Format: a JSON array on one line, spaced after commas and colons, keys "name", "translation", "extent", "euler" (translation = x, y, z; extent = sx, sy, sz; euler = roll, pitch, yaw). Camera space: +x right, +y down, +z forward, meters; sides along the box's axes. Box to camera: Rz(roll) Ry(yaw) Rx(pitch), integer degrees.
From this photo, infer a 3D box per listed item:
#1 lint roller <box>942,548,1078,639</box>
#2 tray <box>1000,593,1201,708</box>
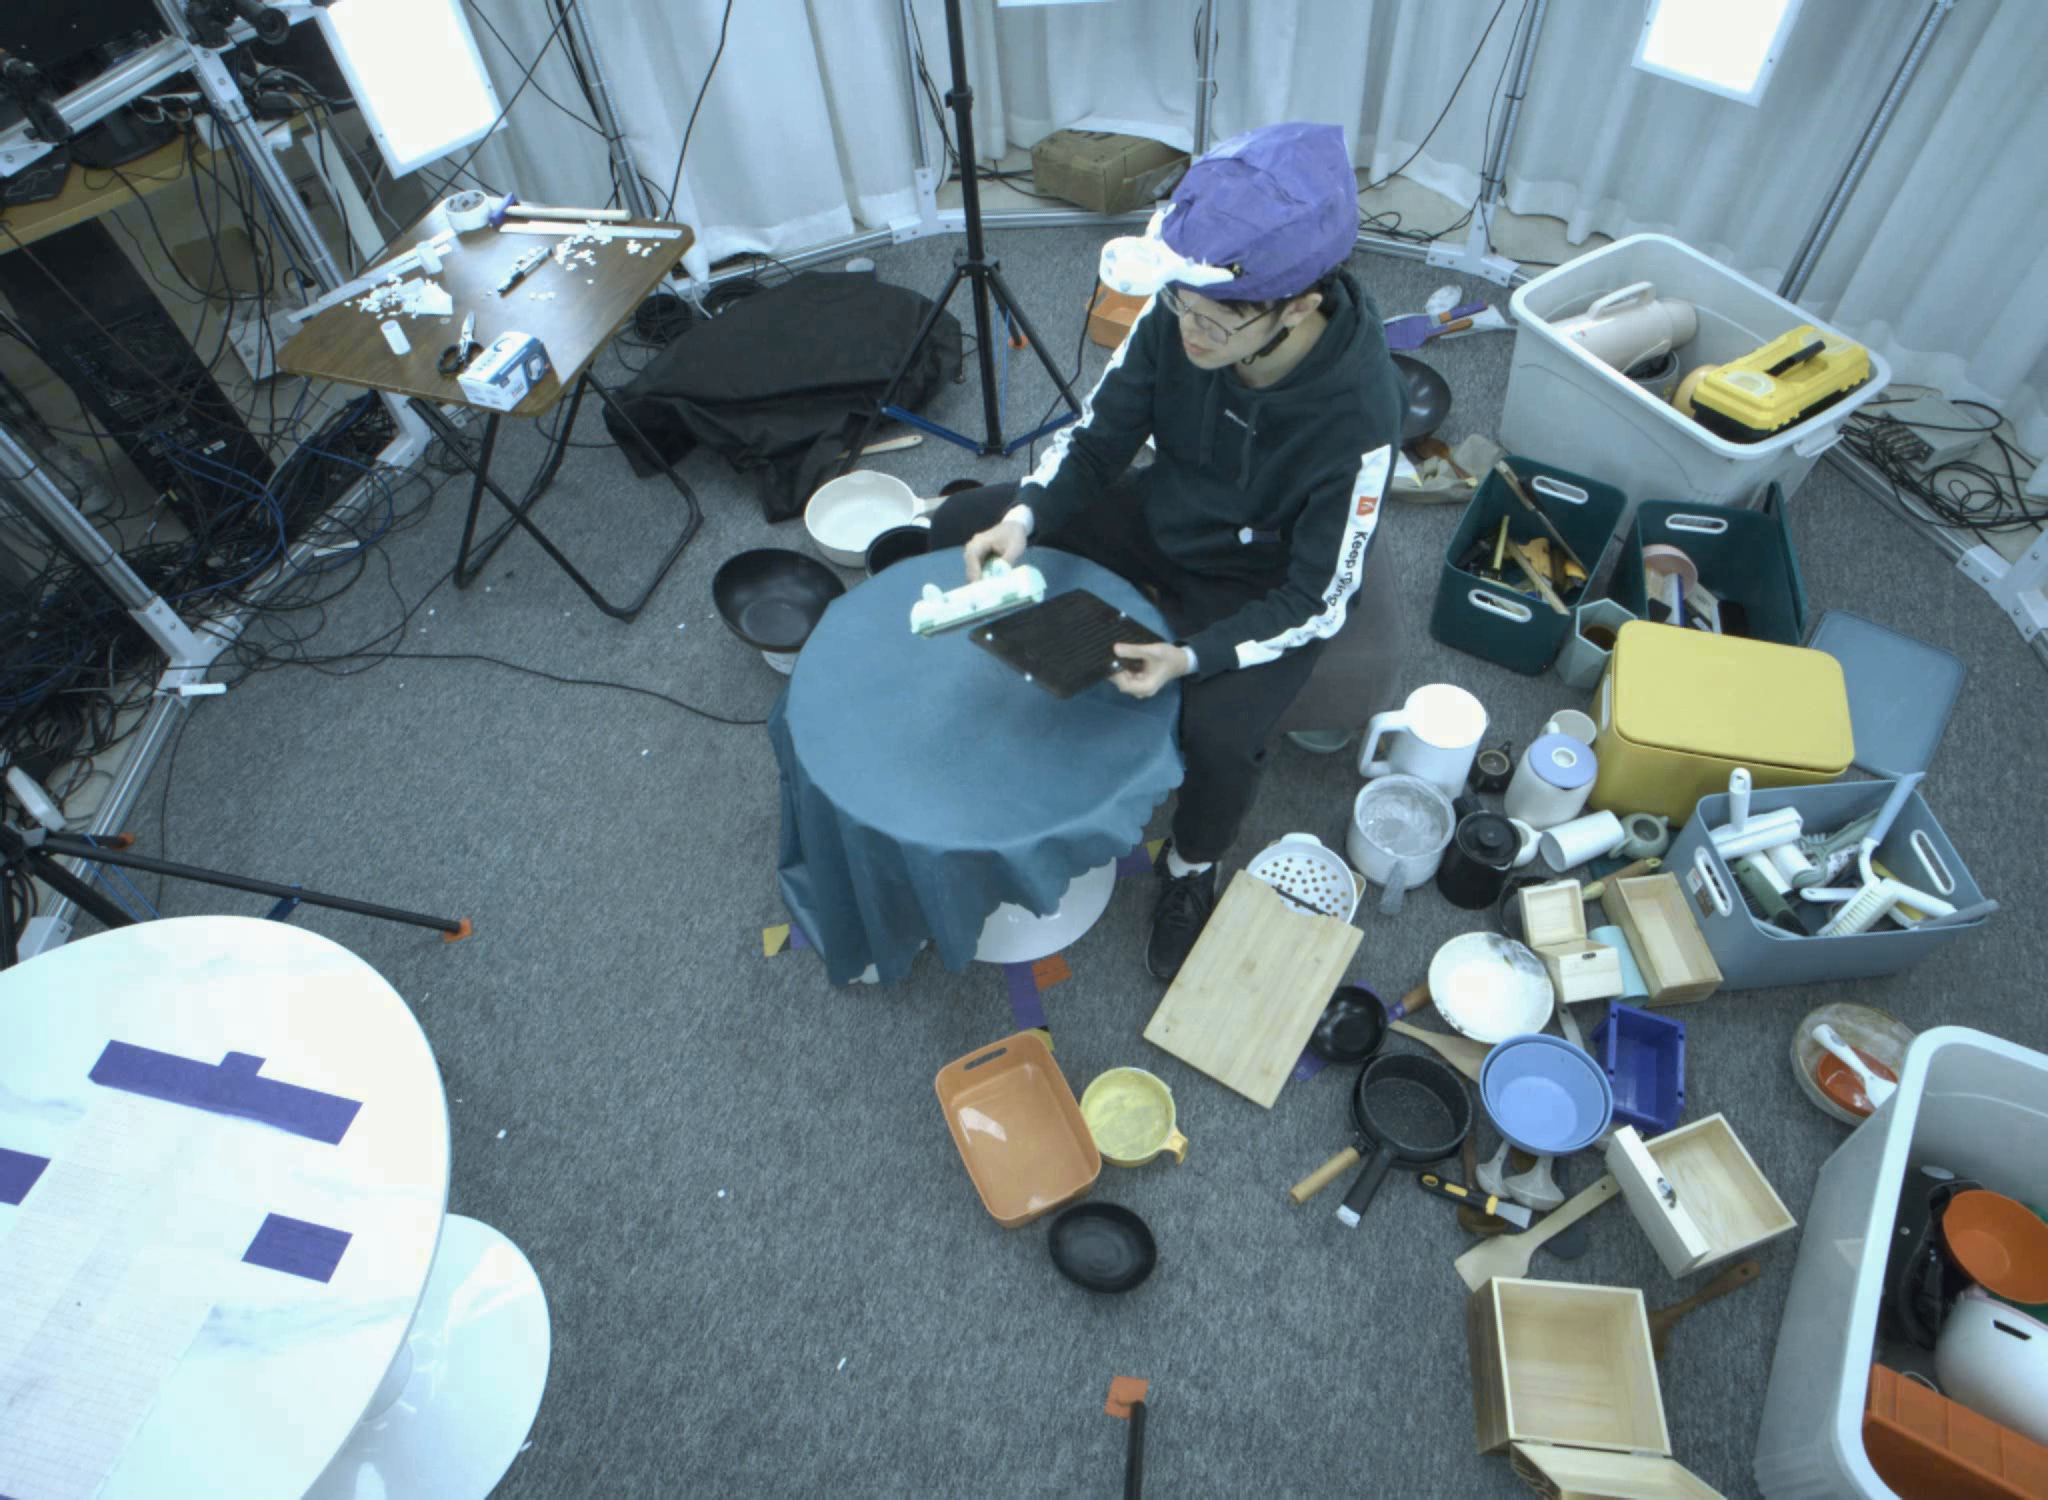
[{"name": "lint roller", "translation": [-0.014, -0.245, 1.717], "extent": [0.195, 0.084, 0.182], "euler": [-14, 41, 29]}, {"name": "tray", "translation": [0.112, -0.143, 1.718], "extent": [0.168, 0.018, 0.310], "euler": [37, 34, 19]}]
